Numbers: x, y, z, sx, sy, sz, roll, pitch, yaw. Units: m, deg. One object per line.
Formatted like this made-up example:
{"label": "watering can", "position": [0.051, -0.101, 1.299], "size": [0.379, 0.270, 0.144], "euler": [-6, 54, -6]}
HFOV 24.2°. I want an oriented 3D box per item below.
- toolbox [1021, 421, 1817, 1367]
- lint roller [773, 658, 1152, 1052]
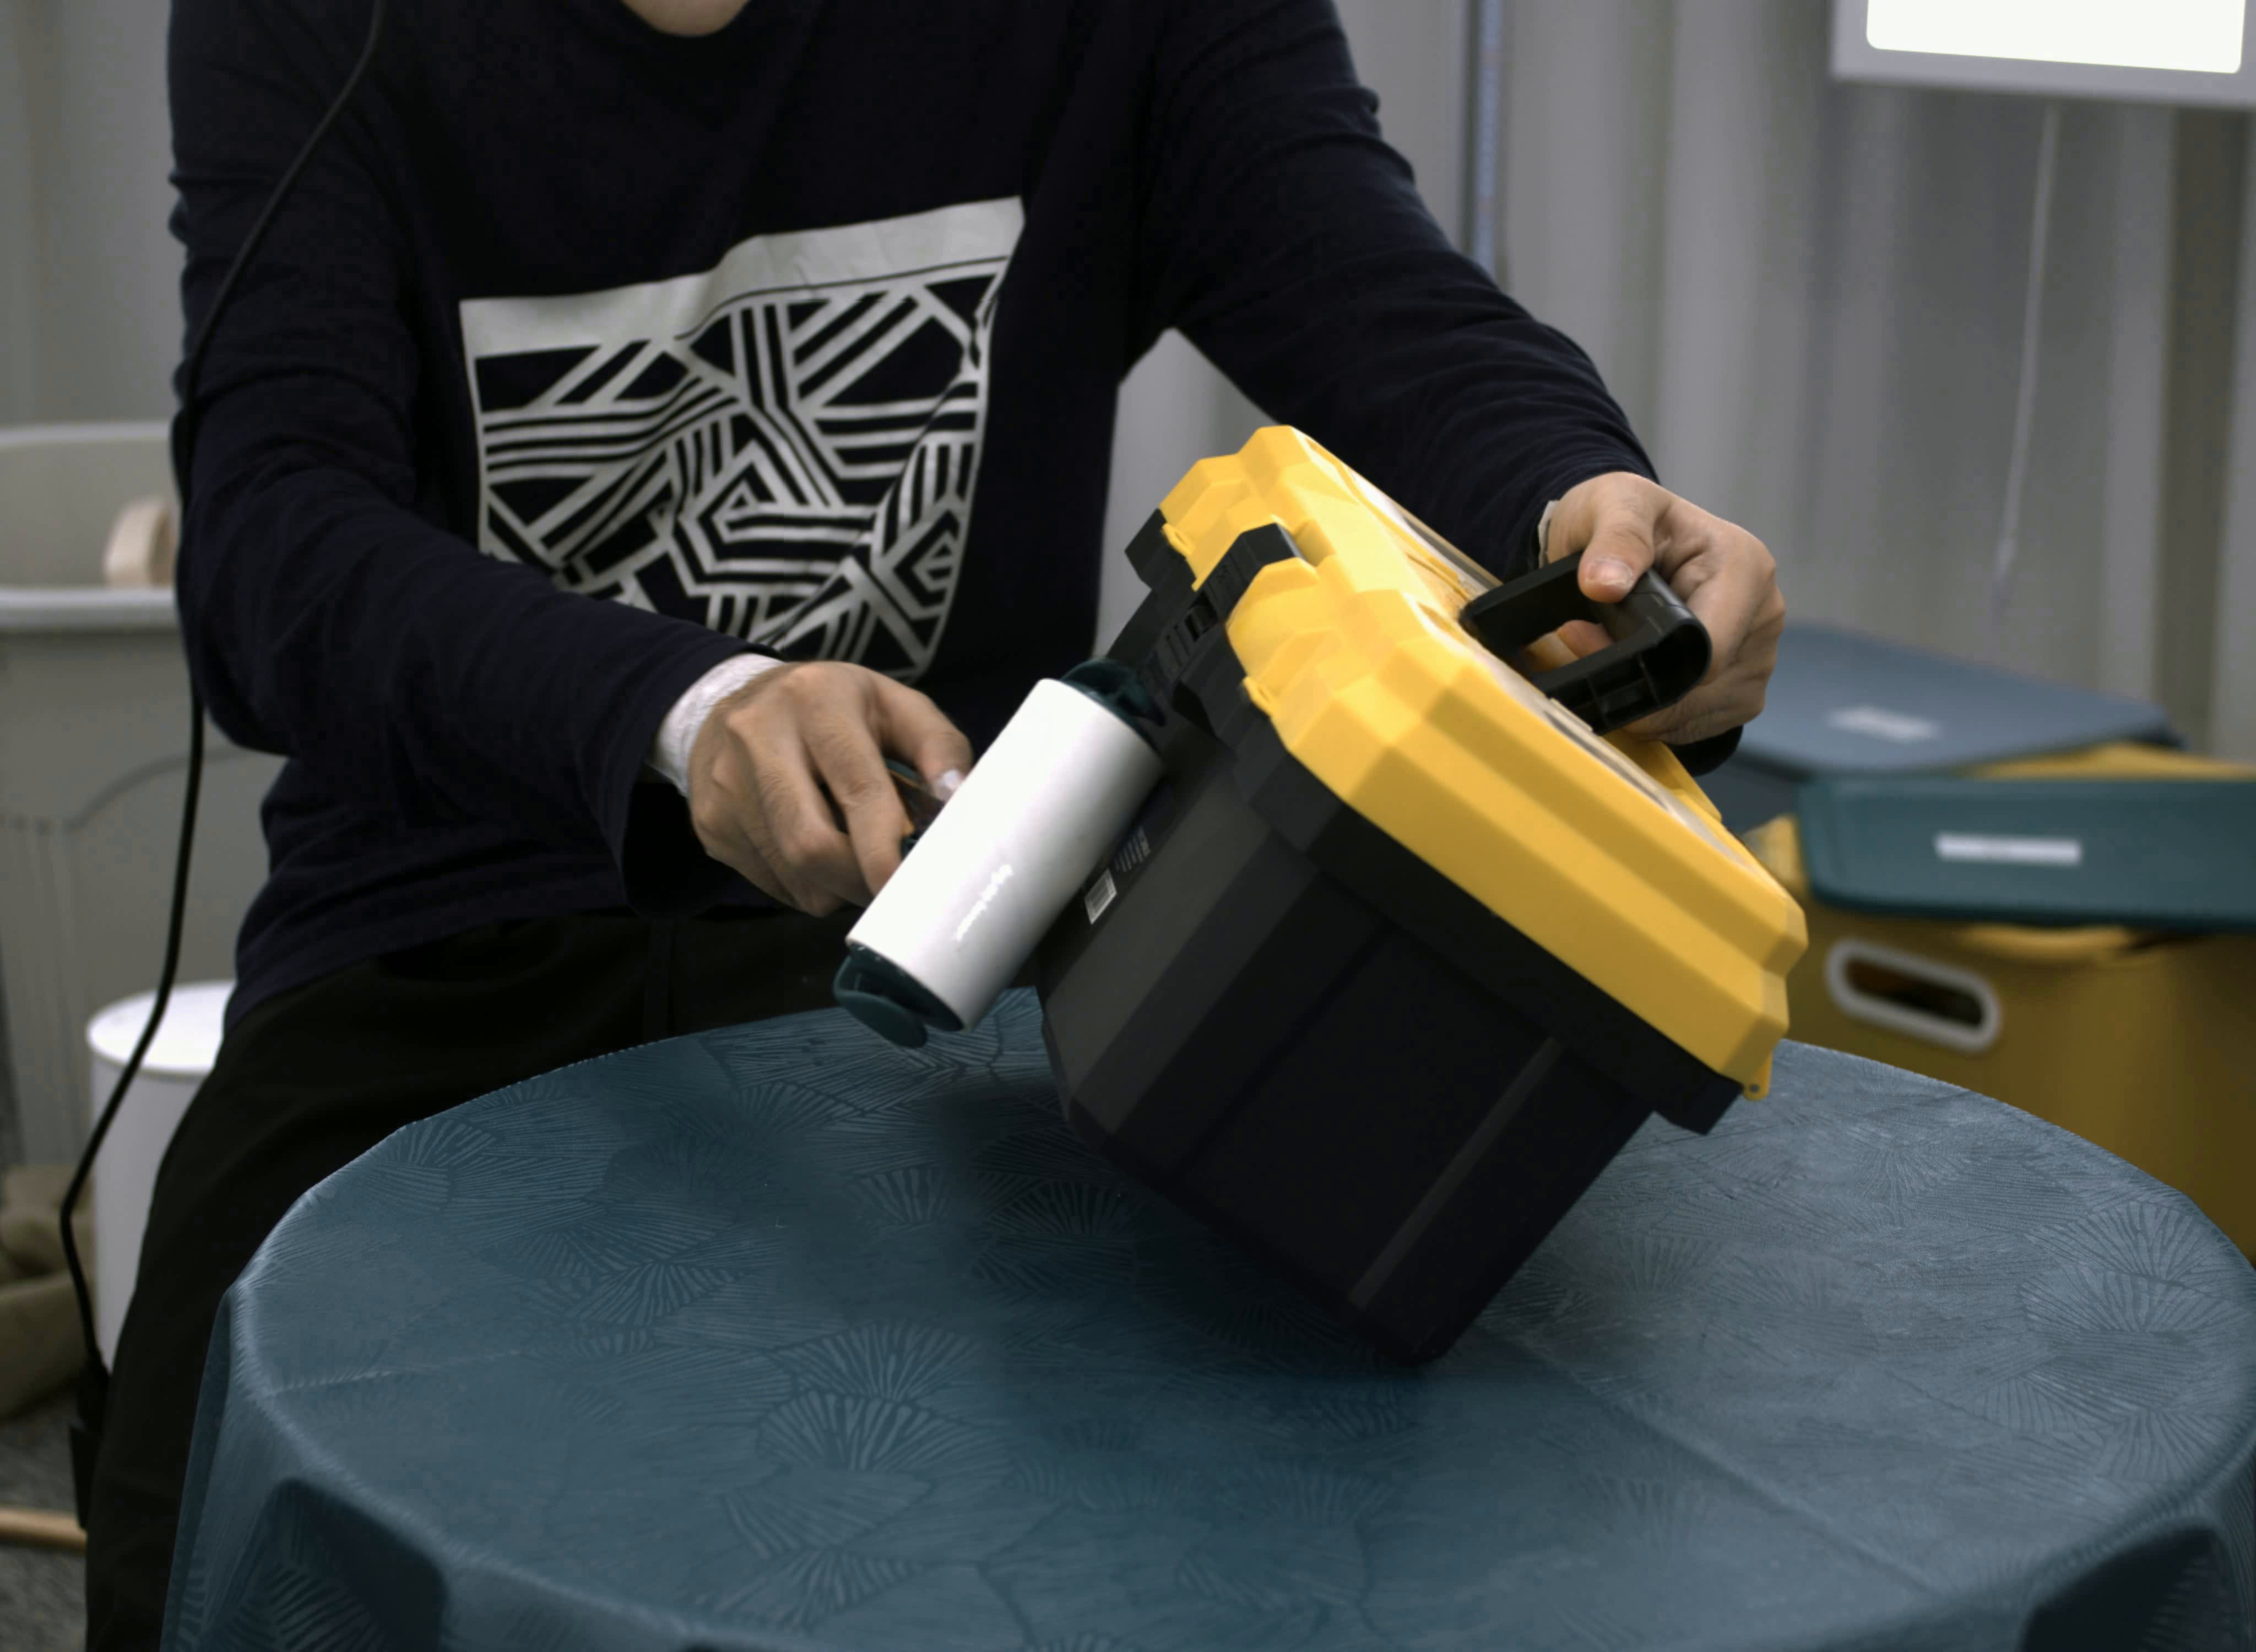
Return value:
{"label": "toolbox", "position": [0.067, 0.012, 1.591], "size": [0.182, 0.173, 0.349], "euler": [36, 8, -14]}
{"label": "lint roller", "position": [-0.075, -0.004, 1.629], "size": [0.049, 0.134, 0.178], "euler": [43, -13, -33]}
